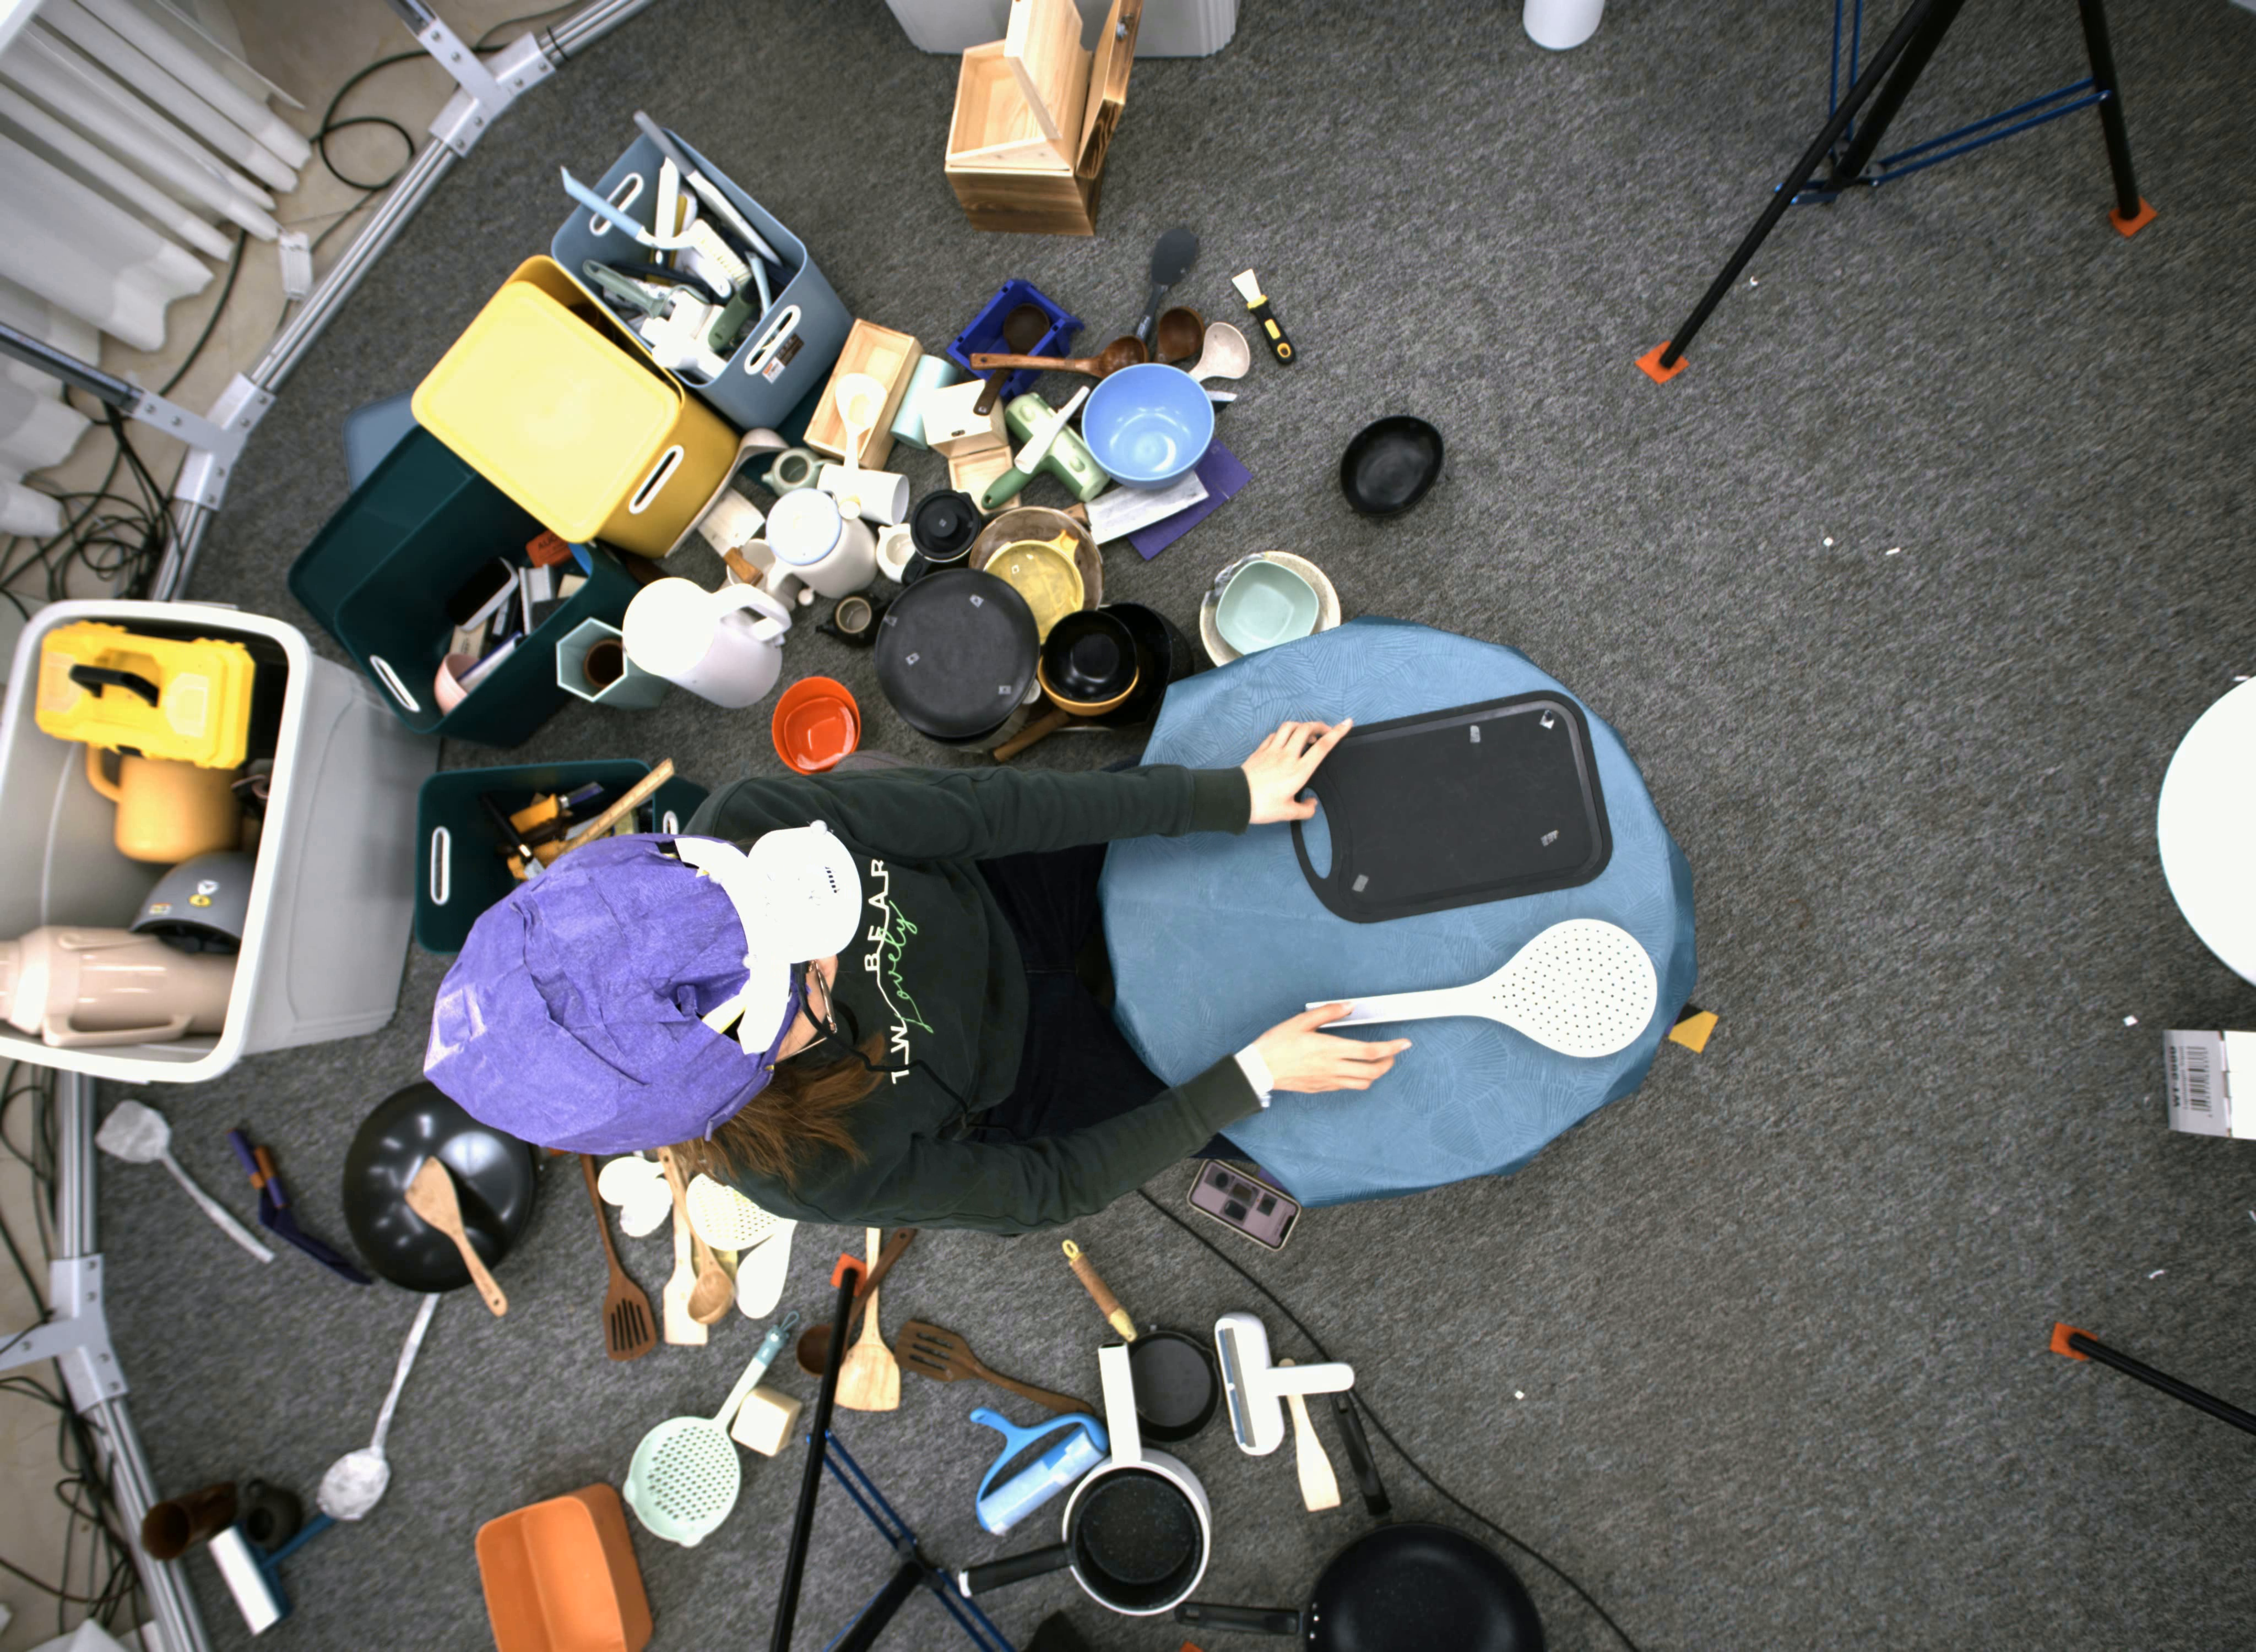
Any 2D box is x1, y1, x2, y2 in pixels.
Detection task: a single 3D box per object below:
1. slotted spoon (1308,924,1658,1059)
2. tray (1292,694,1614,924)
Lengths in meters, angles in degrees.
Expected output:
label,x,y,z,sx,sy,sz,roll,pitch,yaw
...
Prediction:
label,x,y,z,sx,sy,sz,roll,pitch,yaw
slotted spoon,0.359,0.179,1.418,0.351,0.046,0.135,-7,83,11
tray,0.337,-0.017,1.455,0.327,0.010,0.210,-11,84,10
